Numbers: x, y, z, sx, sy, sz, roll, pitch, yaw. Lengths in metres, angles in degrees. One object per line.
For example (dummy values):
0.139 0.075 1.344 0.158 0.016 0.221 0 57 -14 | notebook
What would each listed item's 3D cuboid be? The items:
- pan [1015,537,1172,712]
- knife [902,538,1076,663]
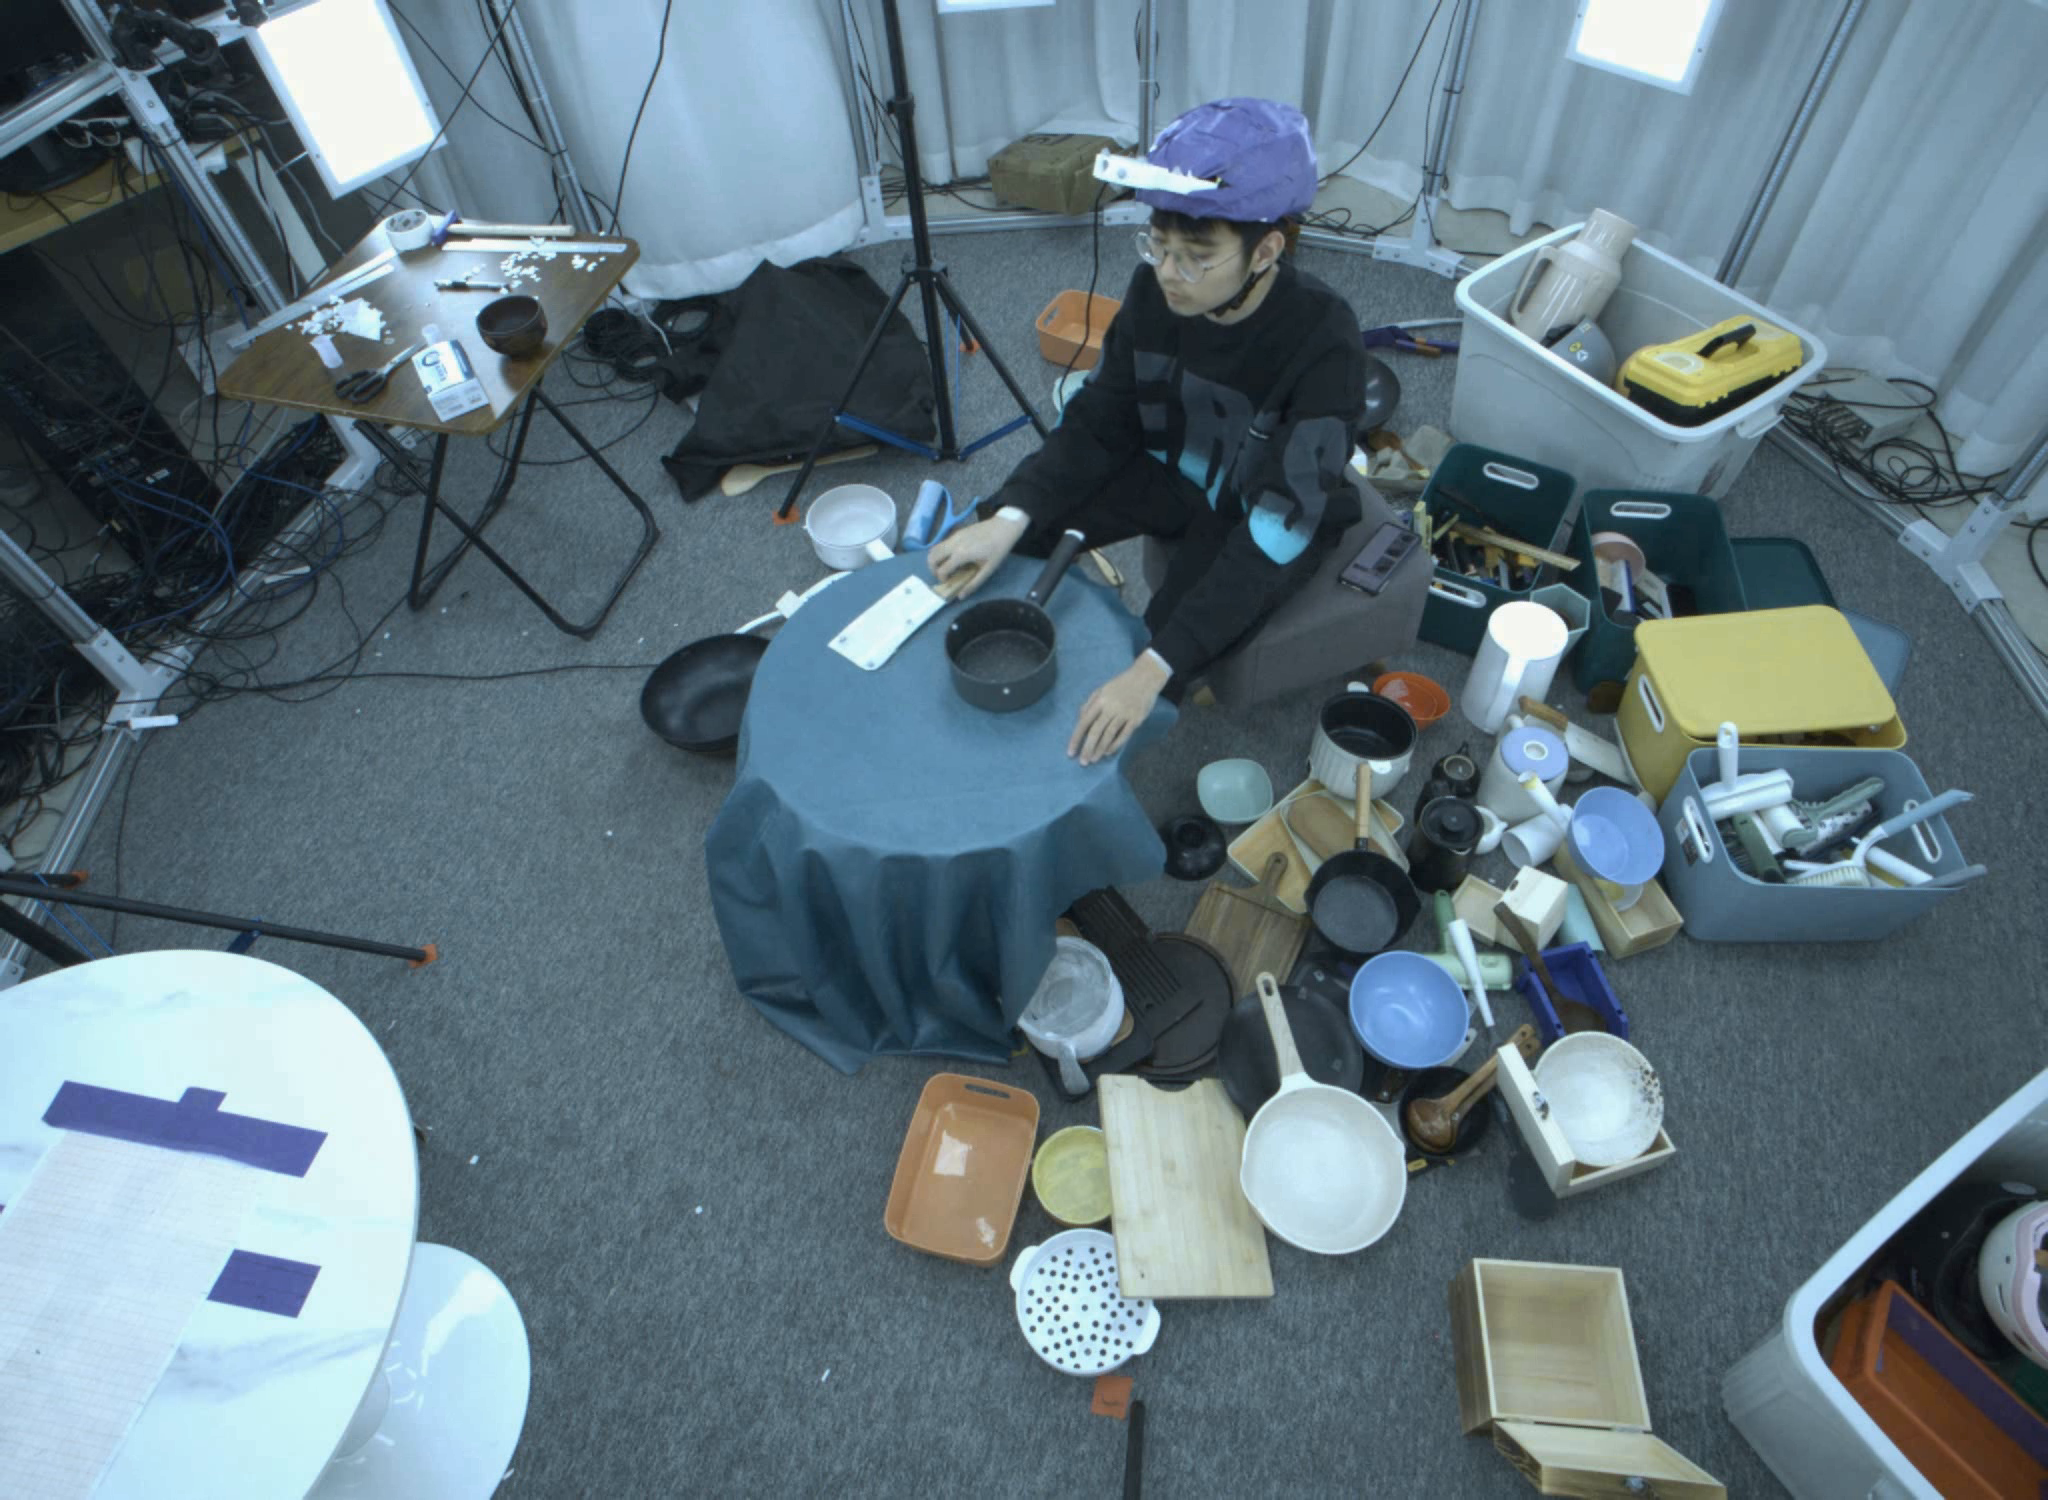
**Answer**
0.120 -0.196 1.869 0.169 0.087 0.330 31 62 20 | pan
-0.046 -0.243 1.943 0.317 0.022 0.112 -36 61 -16 | knife
